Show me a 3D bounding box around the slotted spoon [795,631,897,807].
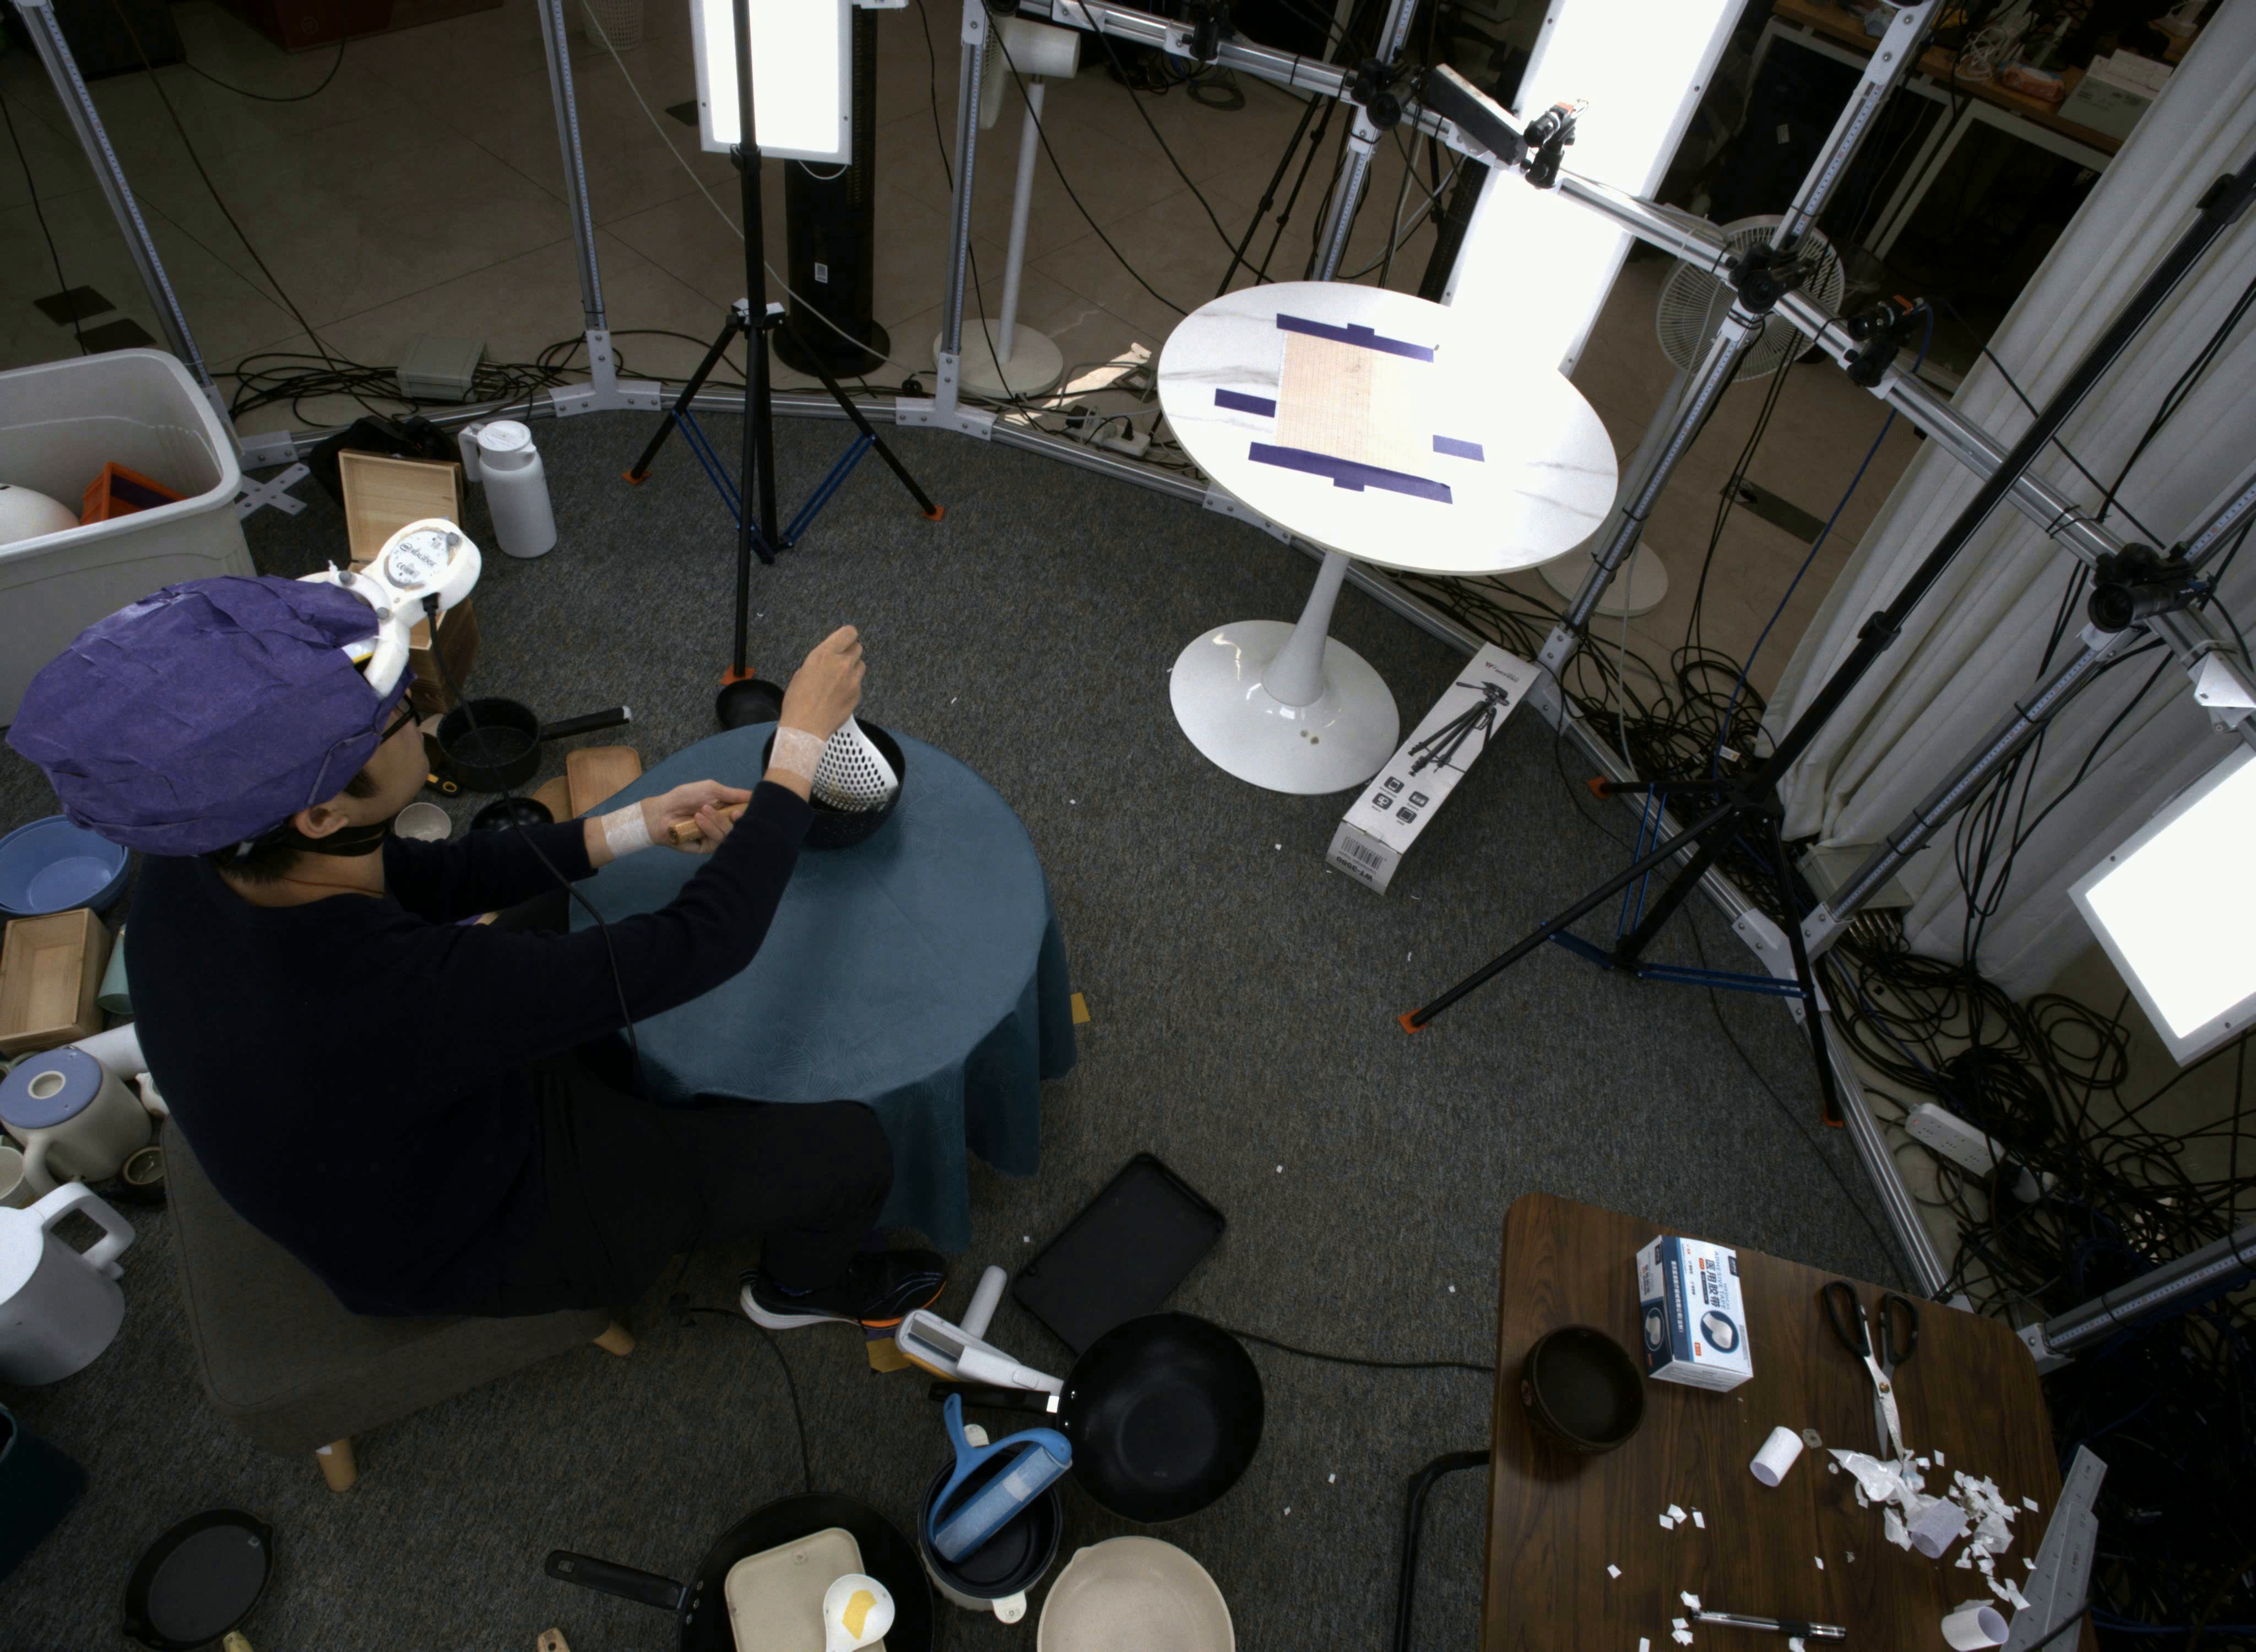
[{"bbox_3d":[-0.353,-0.122,1.587,0.136,0.355,0.049,13,50,-1],"label":"slotted spoon"}]

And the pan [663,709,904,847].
[{"bbox_3d":[-0.438,-0.032,1.643,0.203,0.110,0.344,40,46,17],"label":"pan"}]
